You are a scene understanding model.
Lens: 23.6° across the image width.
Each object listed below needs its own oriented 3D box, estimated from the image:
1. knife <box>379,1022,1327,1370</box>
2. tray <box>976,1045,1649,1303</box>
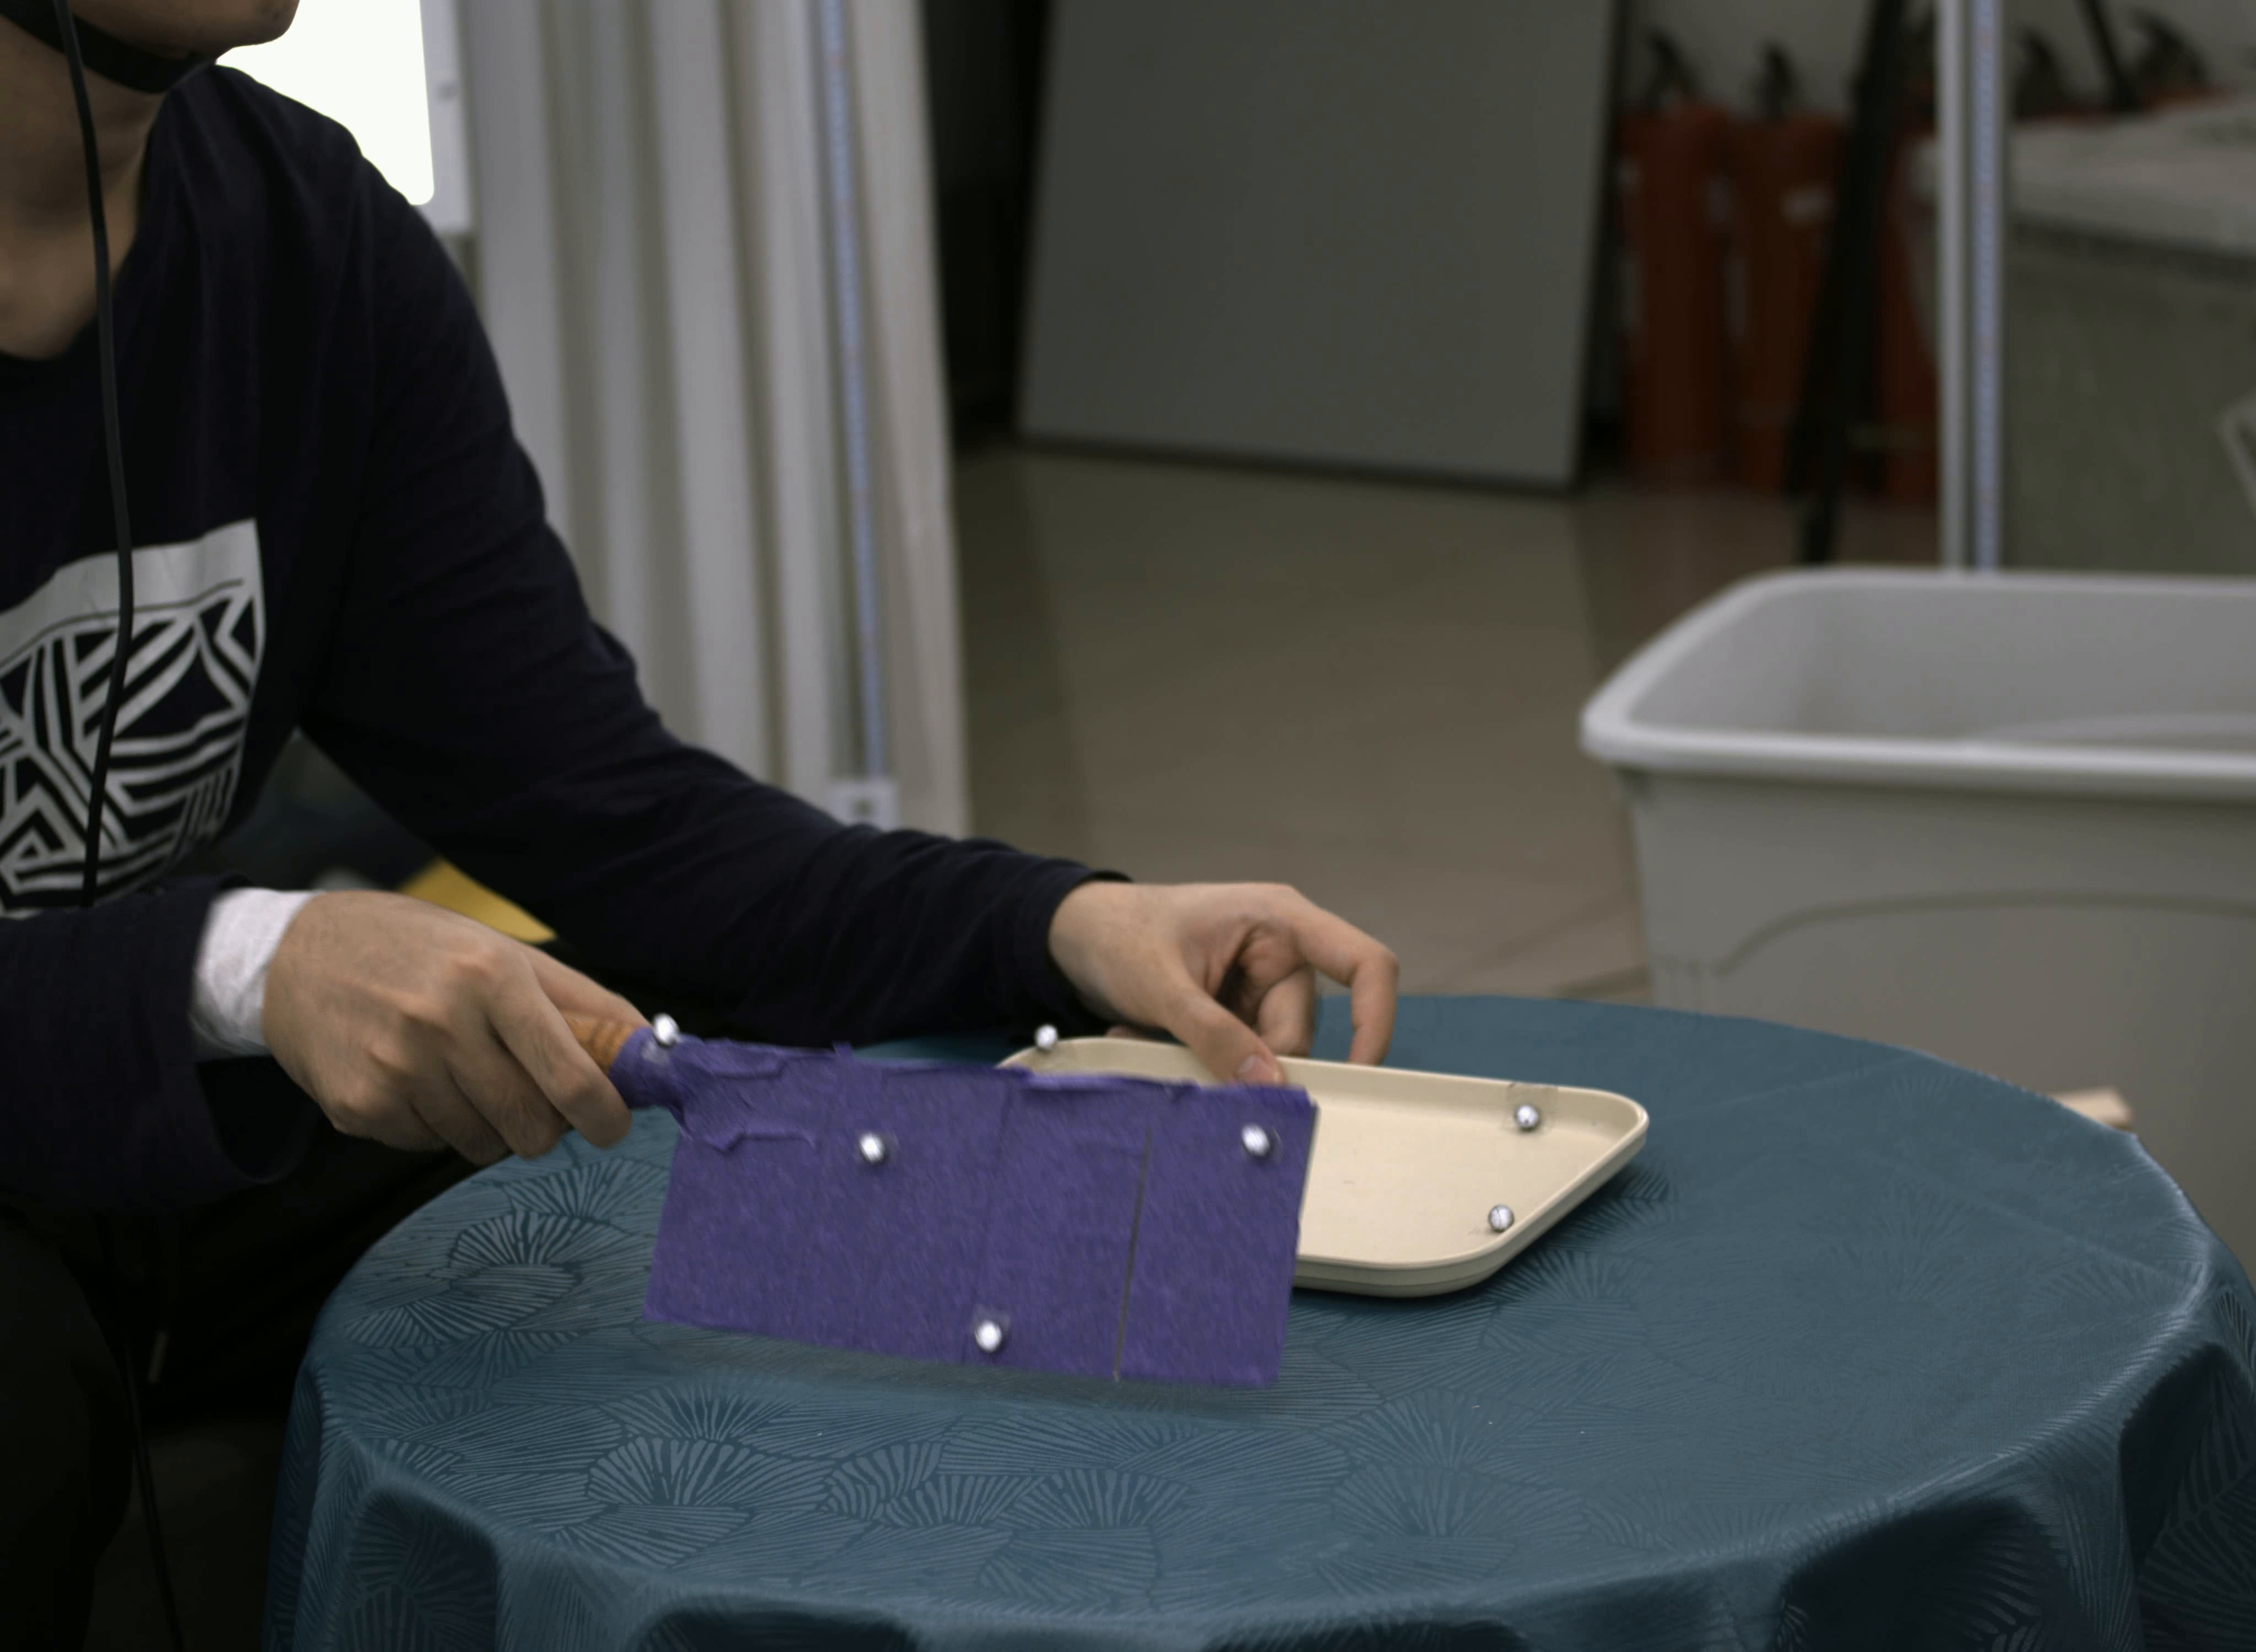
[{"bbox_3d":[-0.092,0.110,1.621,0.315,0.105,0.032,2,-20,25],"label":"knife"},{"bbox_3d":[0.038,0.112,1.753,0.240,0.017,0.169,4,19,30],"label":"tray"}]
